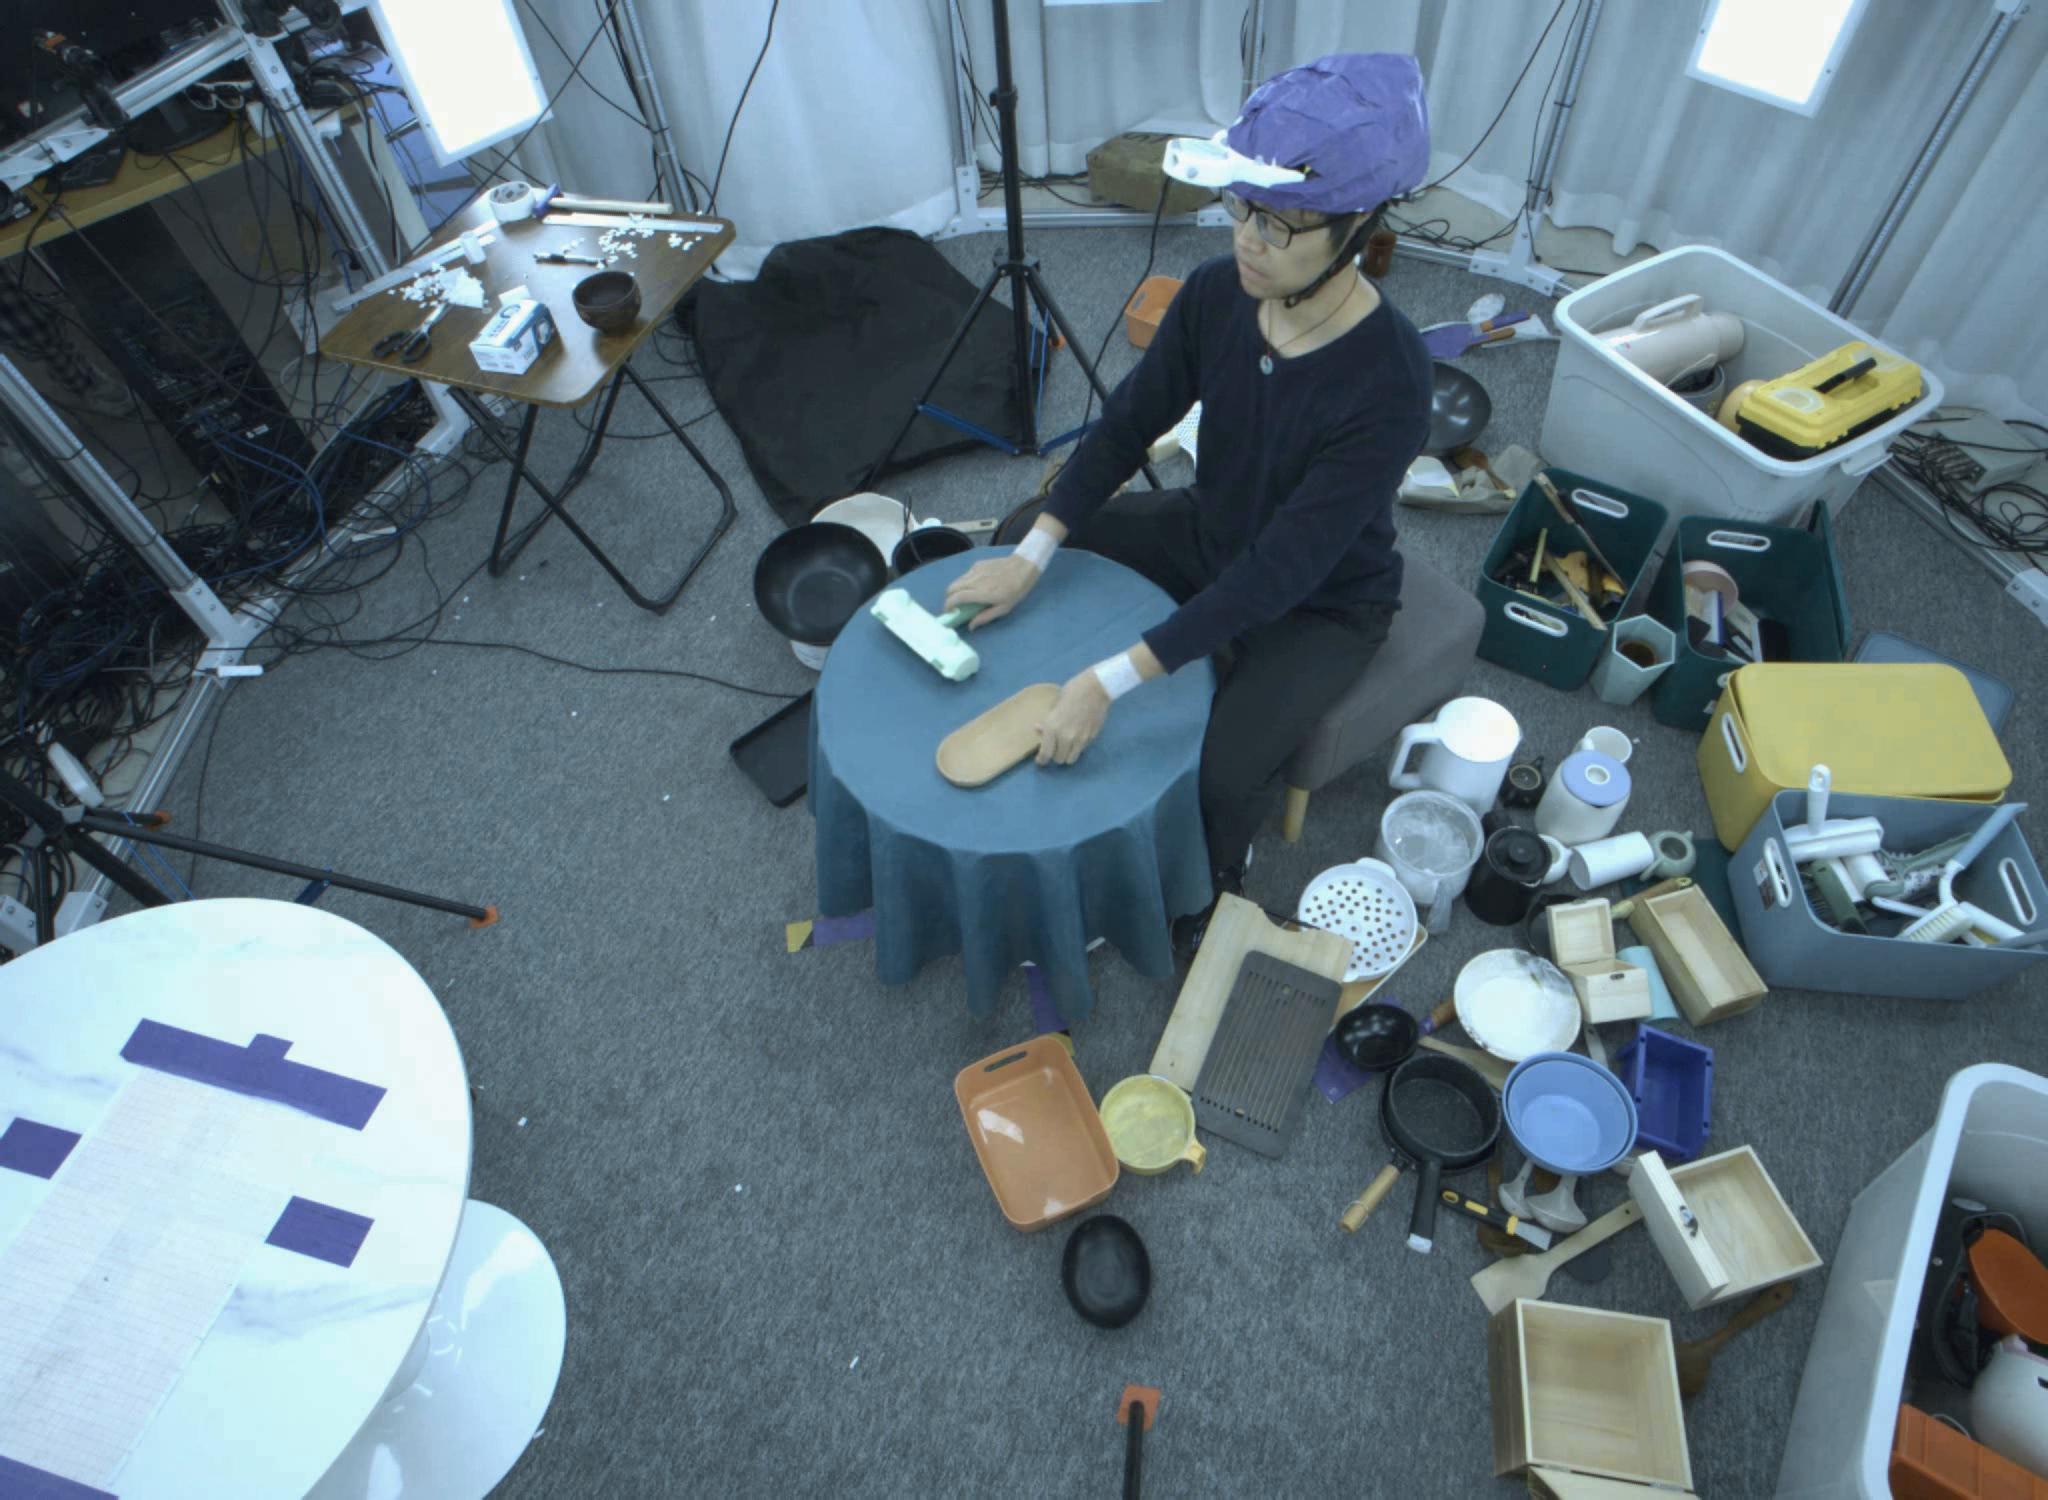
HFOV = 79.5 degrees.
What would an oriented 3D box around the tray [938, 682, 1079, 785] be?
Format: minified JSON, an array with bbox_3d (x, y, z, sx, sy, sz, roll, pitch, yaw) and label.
[{"bbox_3d":[-0.022,-0.025,1.795,0.233,0.020,0.100,-32,58,-20],"label":"tray"}]

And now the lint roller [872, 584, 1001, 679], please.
[{"bbox_3d":[-0.110,-0.218,1.892,0.184,0.083,0.195,-41,63,-17],"label":"lint roller"}]
